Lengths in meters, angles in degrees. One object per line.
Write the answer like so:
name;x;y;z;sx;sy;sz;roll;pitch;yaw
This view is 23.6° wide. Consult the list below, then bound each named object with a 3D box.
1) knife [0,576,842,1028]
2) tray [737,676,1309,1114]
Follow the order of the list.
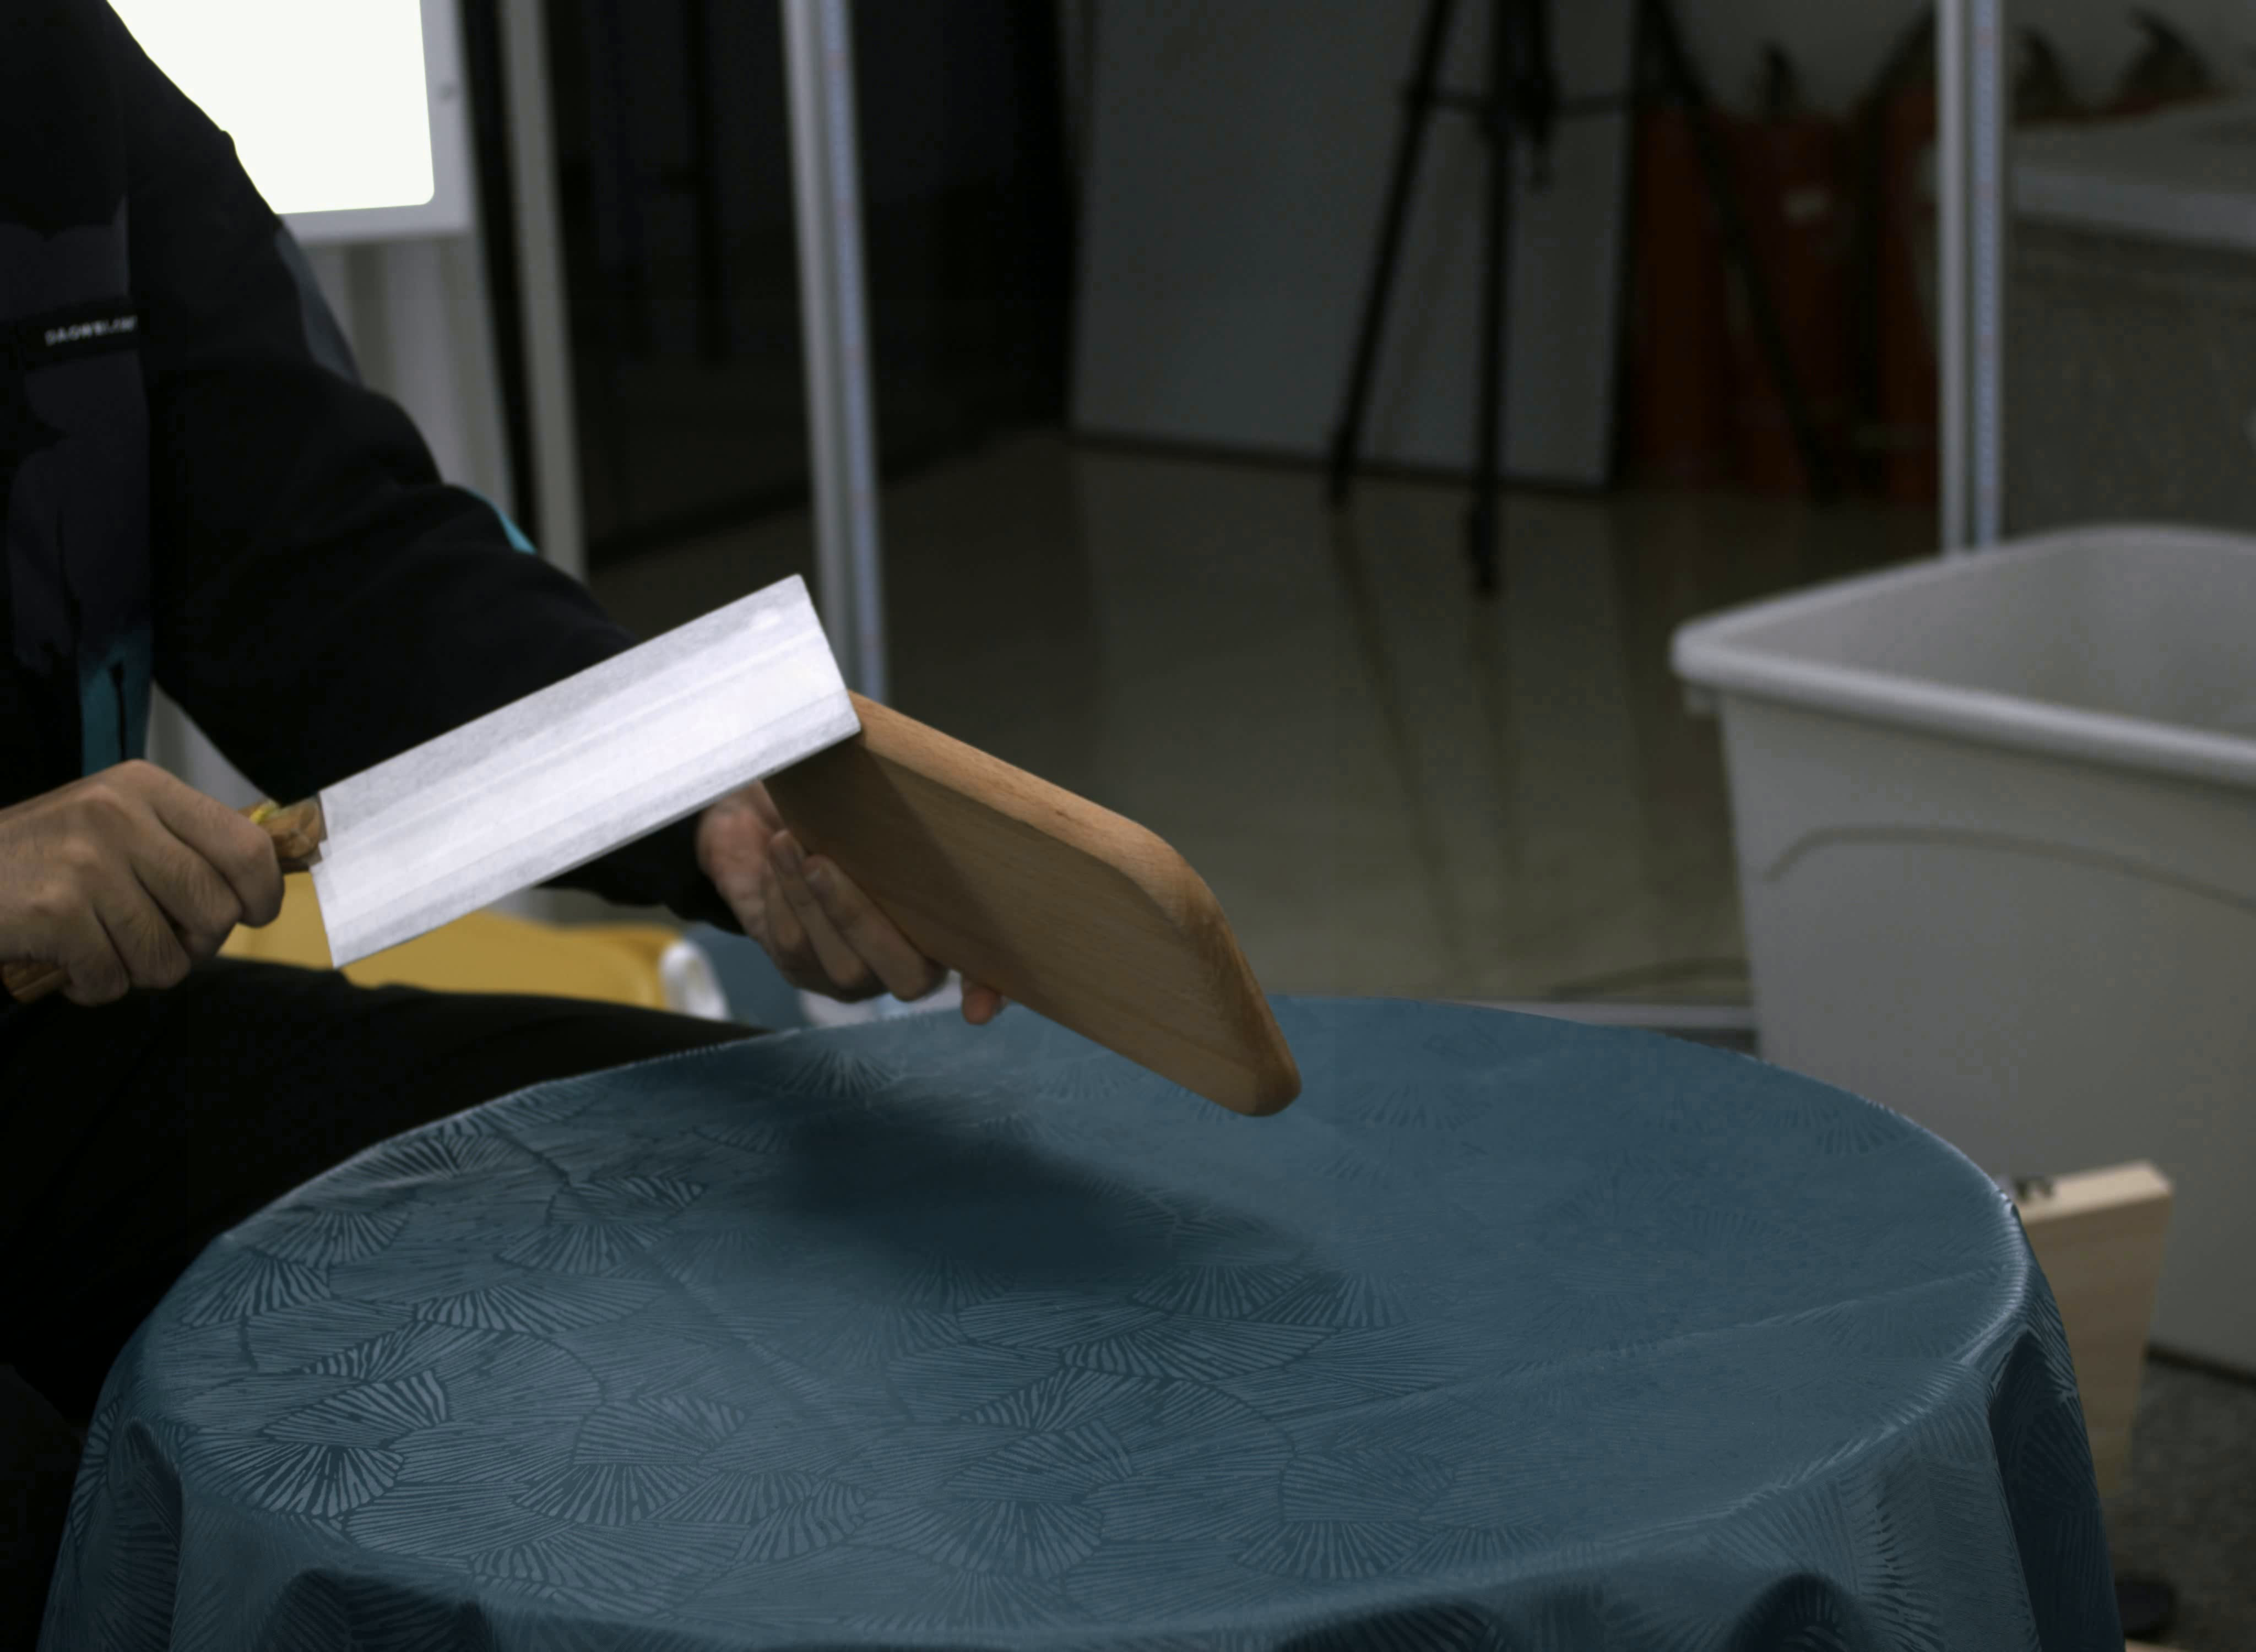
knife;-0.235;0.005;1.788;0.303;0.021;0.094;-25;42;2
tray;-0.042;0.019;1.768;0.022;0.130;0.253;-42;37;-23
